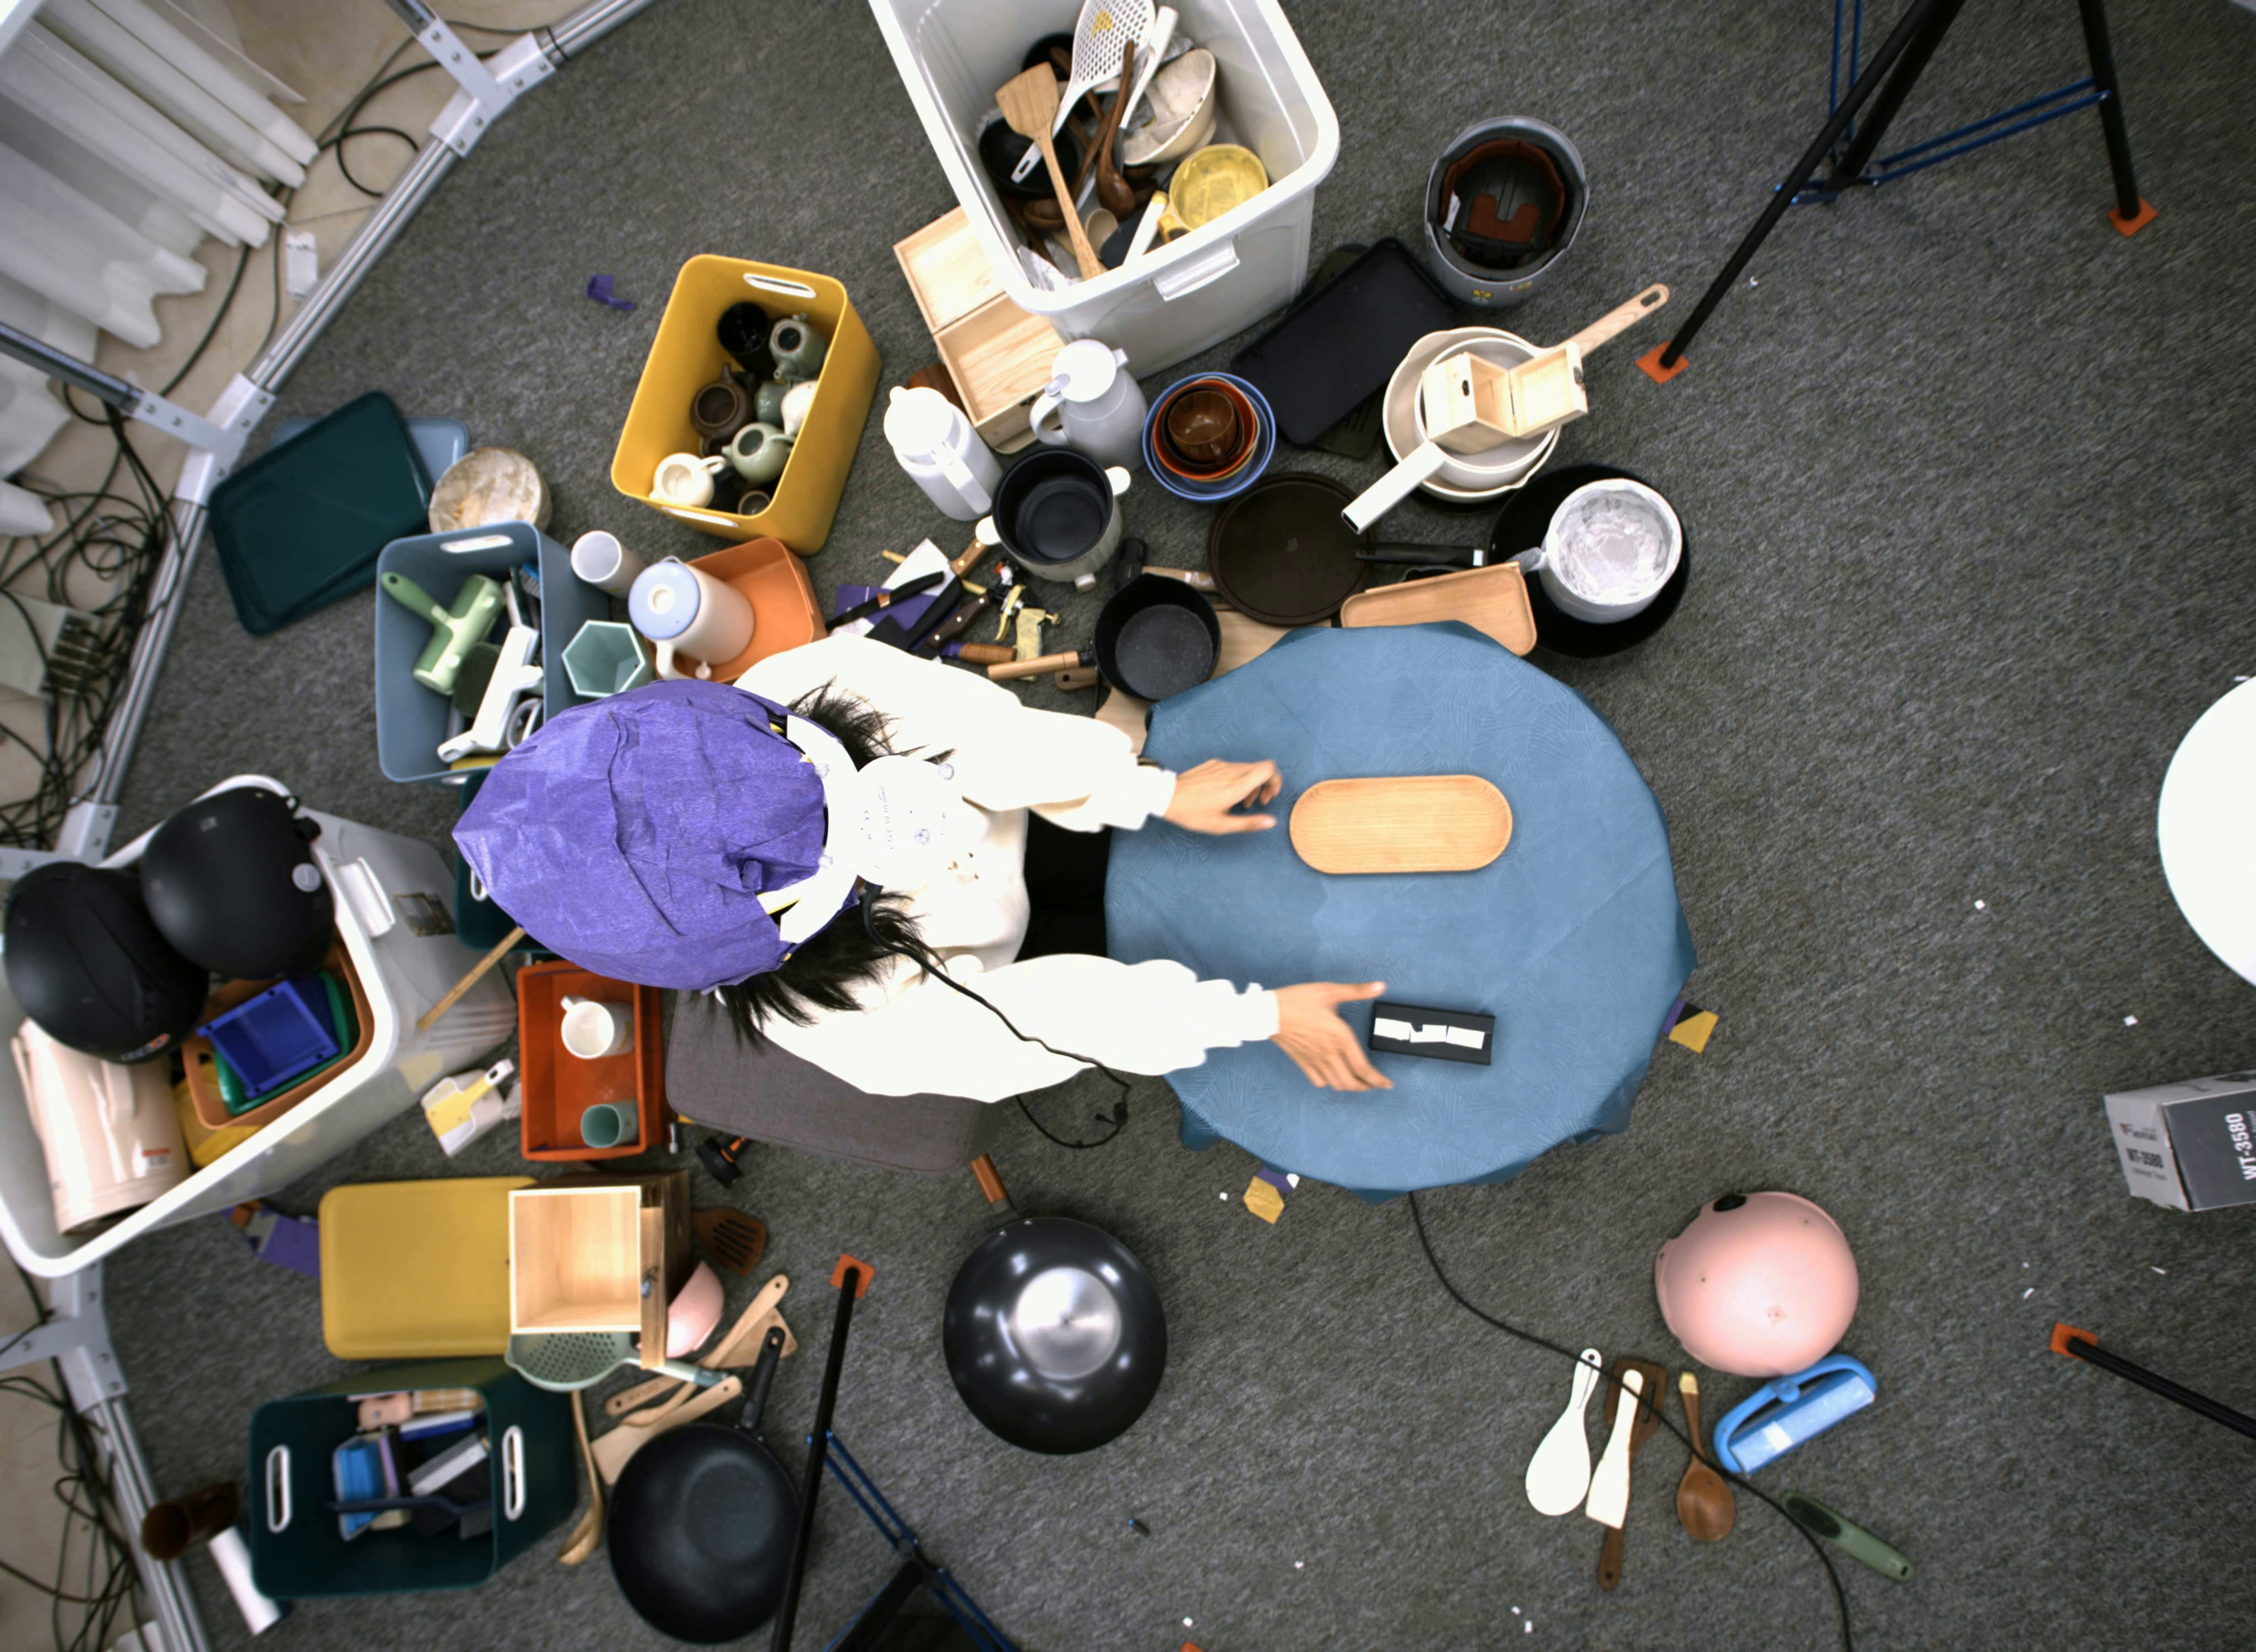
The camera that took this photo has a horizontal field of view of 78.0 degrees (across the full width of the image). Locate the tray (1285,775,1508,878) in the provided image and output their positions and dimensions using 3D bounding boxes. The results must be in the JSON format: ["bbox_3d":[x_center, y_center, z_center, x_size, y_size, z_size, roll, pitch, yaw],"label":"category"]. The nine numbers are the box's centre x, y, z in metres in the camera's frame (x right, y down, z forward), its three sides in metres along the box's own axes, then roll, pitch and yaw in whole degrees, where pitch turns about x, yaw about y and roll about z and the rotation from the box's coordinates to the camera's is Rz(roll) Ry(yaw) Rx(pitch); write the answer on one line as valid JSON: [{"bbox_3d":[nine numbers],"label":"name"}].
[{"bbox_3d":[0.282,0.000,1.454,0.232,0.020,0.101,-4,86,12],"label":"tray"}]

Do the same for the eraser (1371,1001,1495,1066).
[{"bbox_3d":[0.315,0.213,1.429,0.126,0.030,0.053,5,81,9],"label":"eraser"}]
